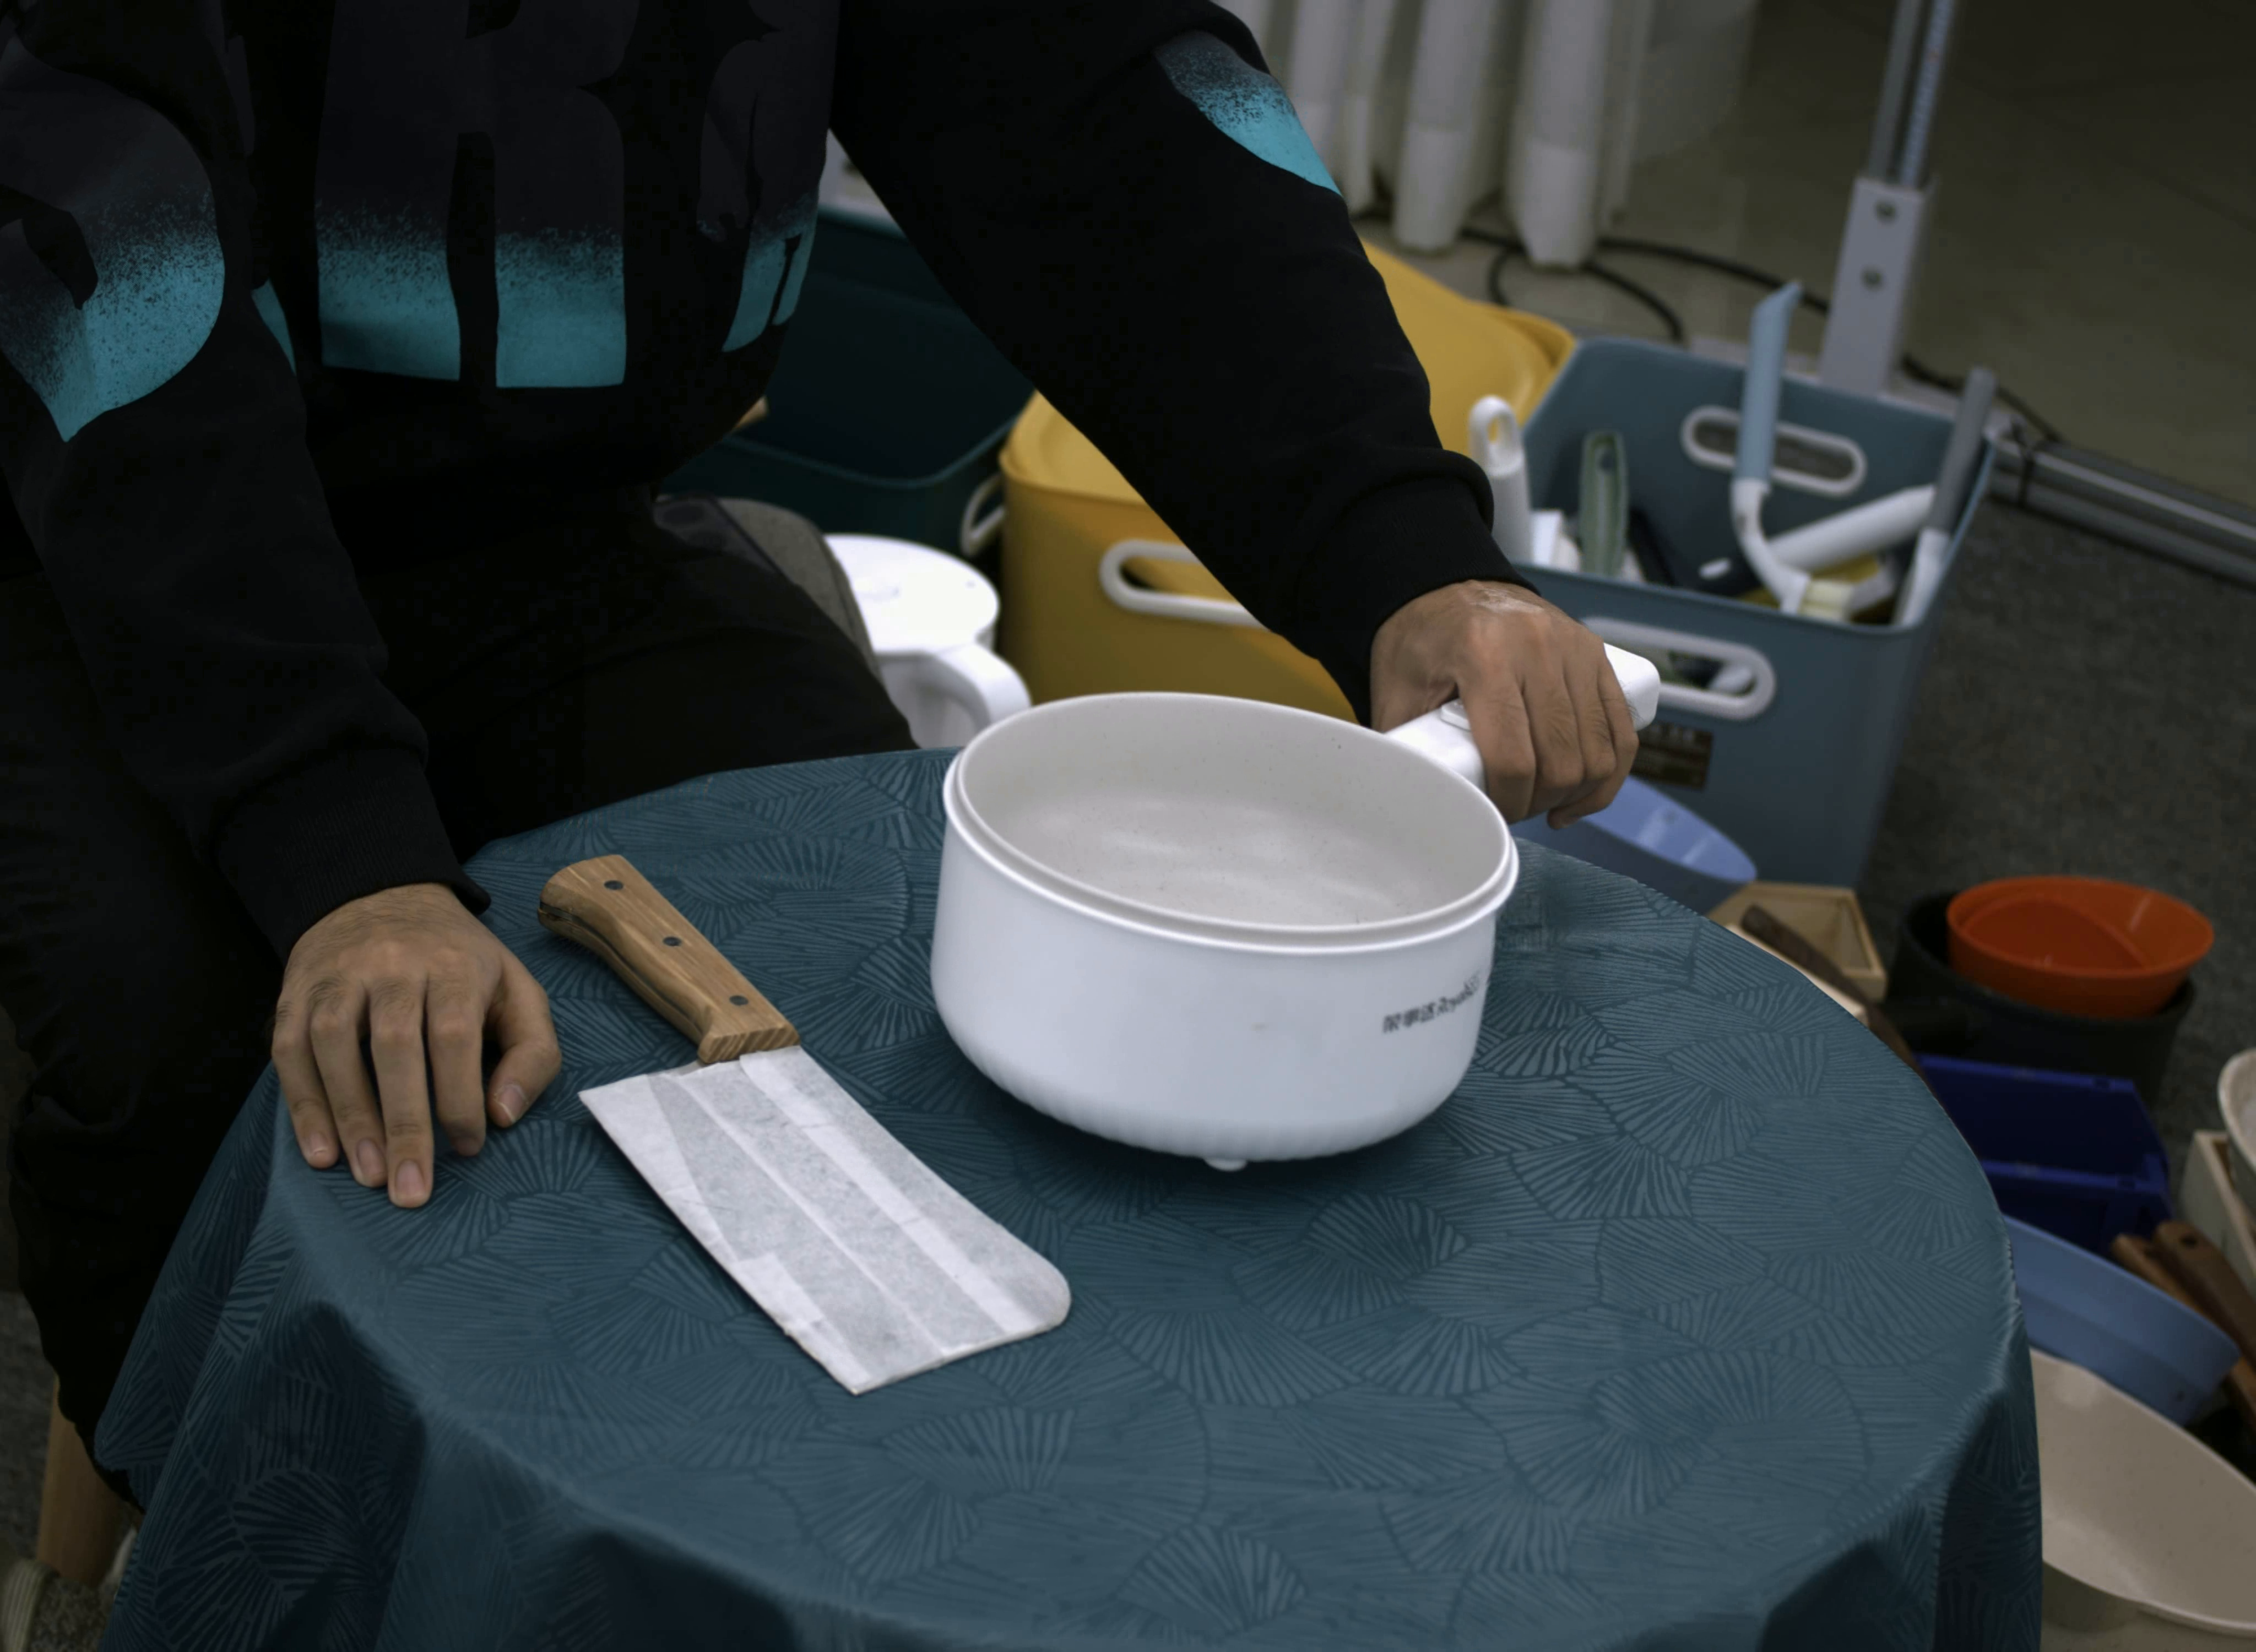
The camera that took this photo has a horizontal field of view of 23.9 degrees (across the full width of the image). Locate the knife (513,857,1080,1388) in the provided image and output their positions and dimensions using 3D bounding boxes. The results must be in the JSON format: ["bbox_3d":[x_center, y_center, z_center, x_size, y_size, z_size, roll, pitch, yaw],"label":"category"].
[{"bbox_3d":[-0.127,0.096,1.809,0.113,0.021,0.318,-10,34,-29],"label":"knife"}]

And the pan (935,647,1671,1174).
[{"bbox_3d":[0.078,0.021,1.912,0.202,0.102,0.353,23,28,31],"label":"pan"}]
